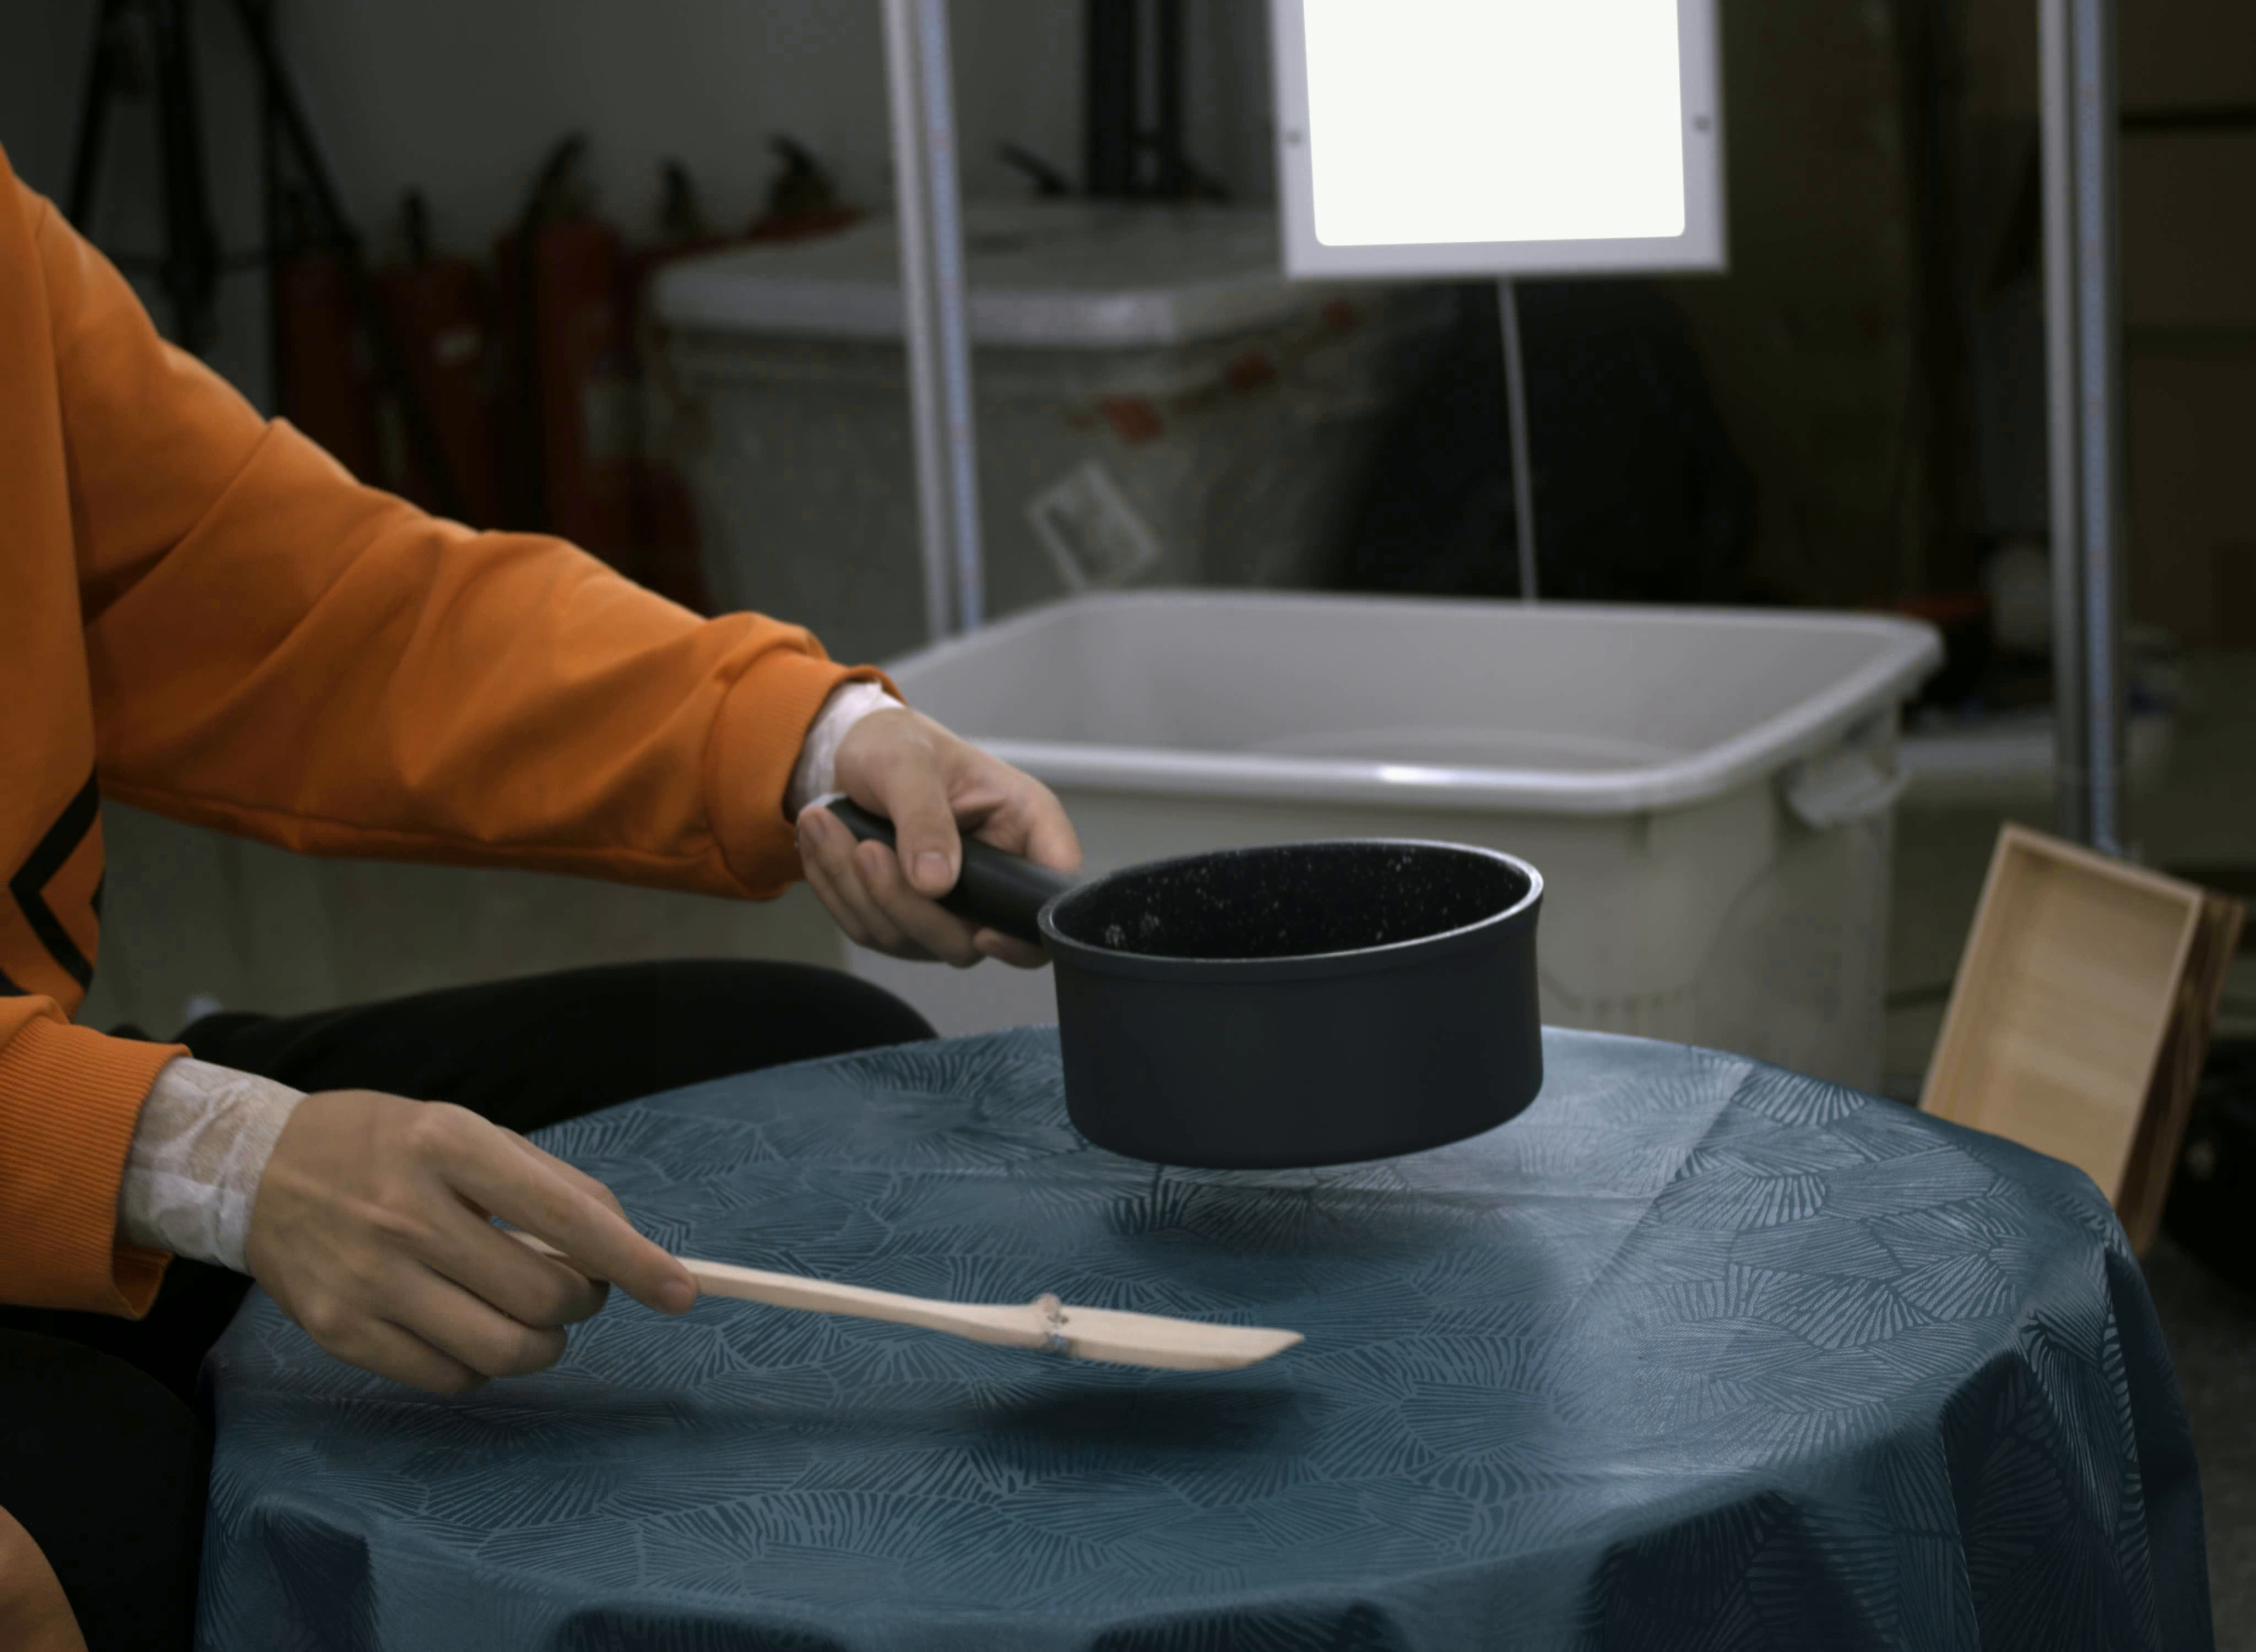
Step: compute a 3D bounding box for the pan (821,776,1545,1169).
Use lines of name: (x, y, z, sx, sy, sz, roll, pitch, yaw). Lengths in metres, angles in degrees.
pan: (0.005, 0.046, 1.922, 0.167, 0.087, 0.336, -14, 17, -38)

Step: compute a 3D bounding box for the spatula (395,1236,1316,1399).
spatula: (-0.089, 0.151, 1.702, 0.296, 0.011, 0.071, 7, 5, 17)
